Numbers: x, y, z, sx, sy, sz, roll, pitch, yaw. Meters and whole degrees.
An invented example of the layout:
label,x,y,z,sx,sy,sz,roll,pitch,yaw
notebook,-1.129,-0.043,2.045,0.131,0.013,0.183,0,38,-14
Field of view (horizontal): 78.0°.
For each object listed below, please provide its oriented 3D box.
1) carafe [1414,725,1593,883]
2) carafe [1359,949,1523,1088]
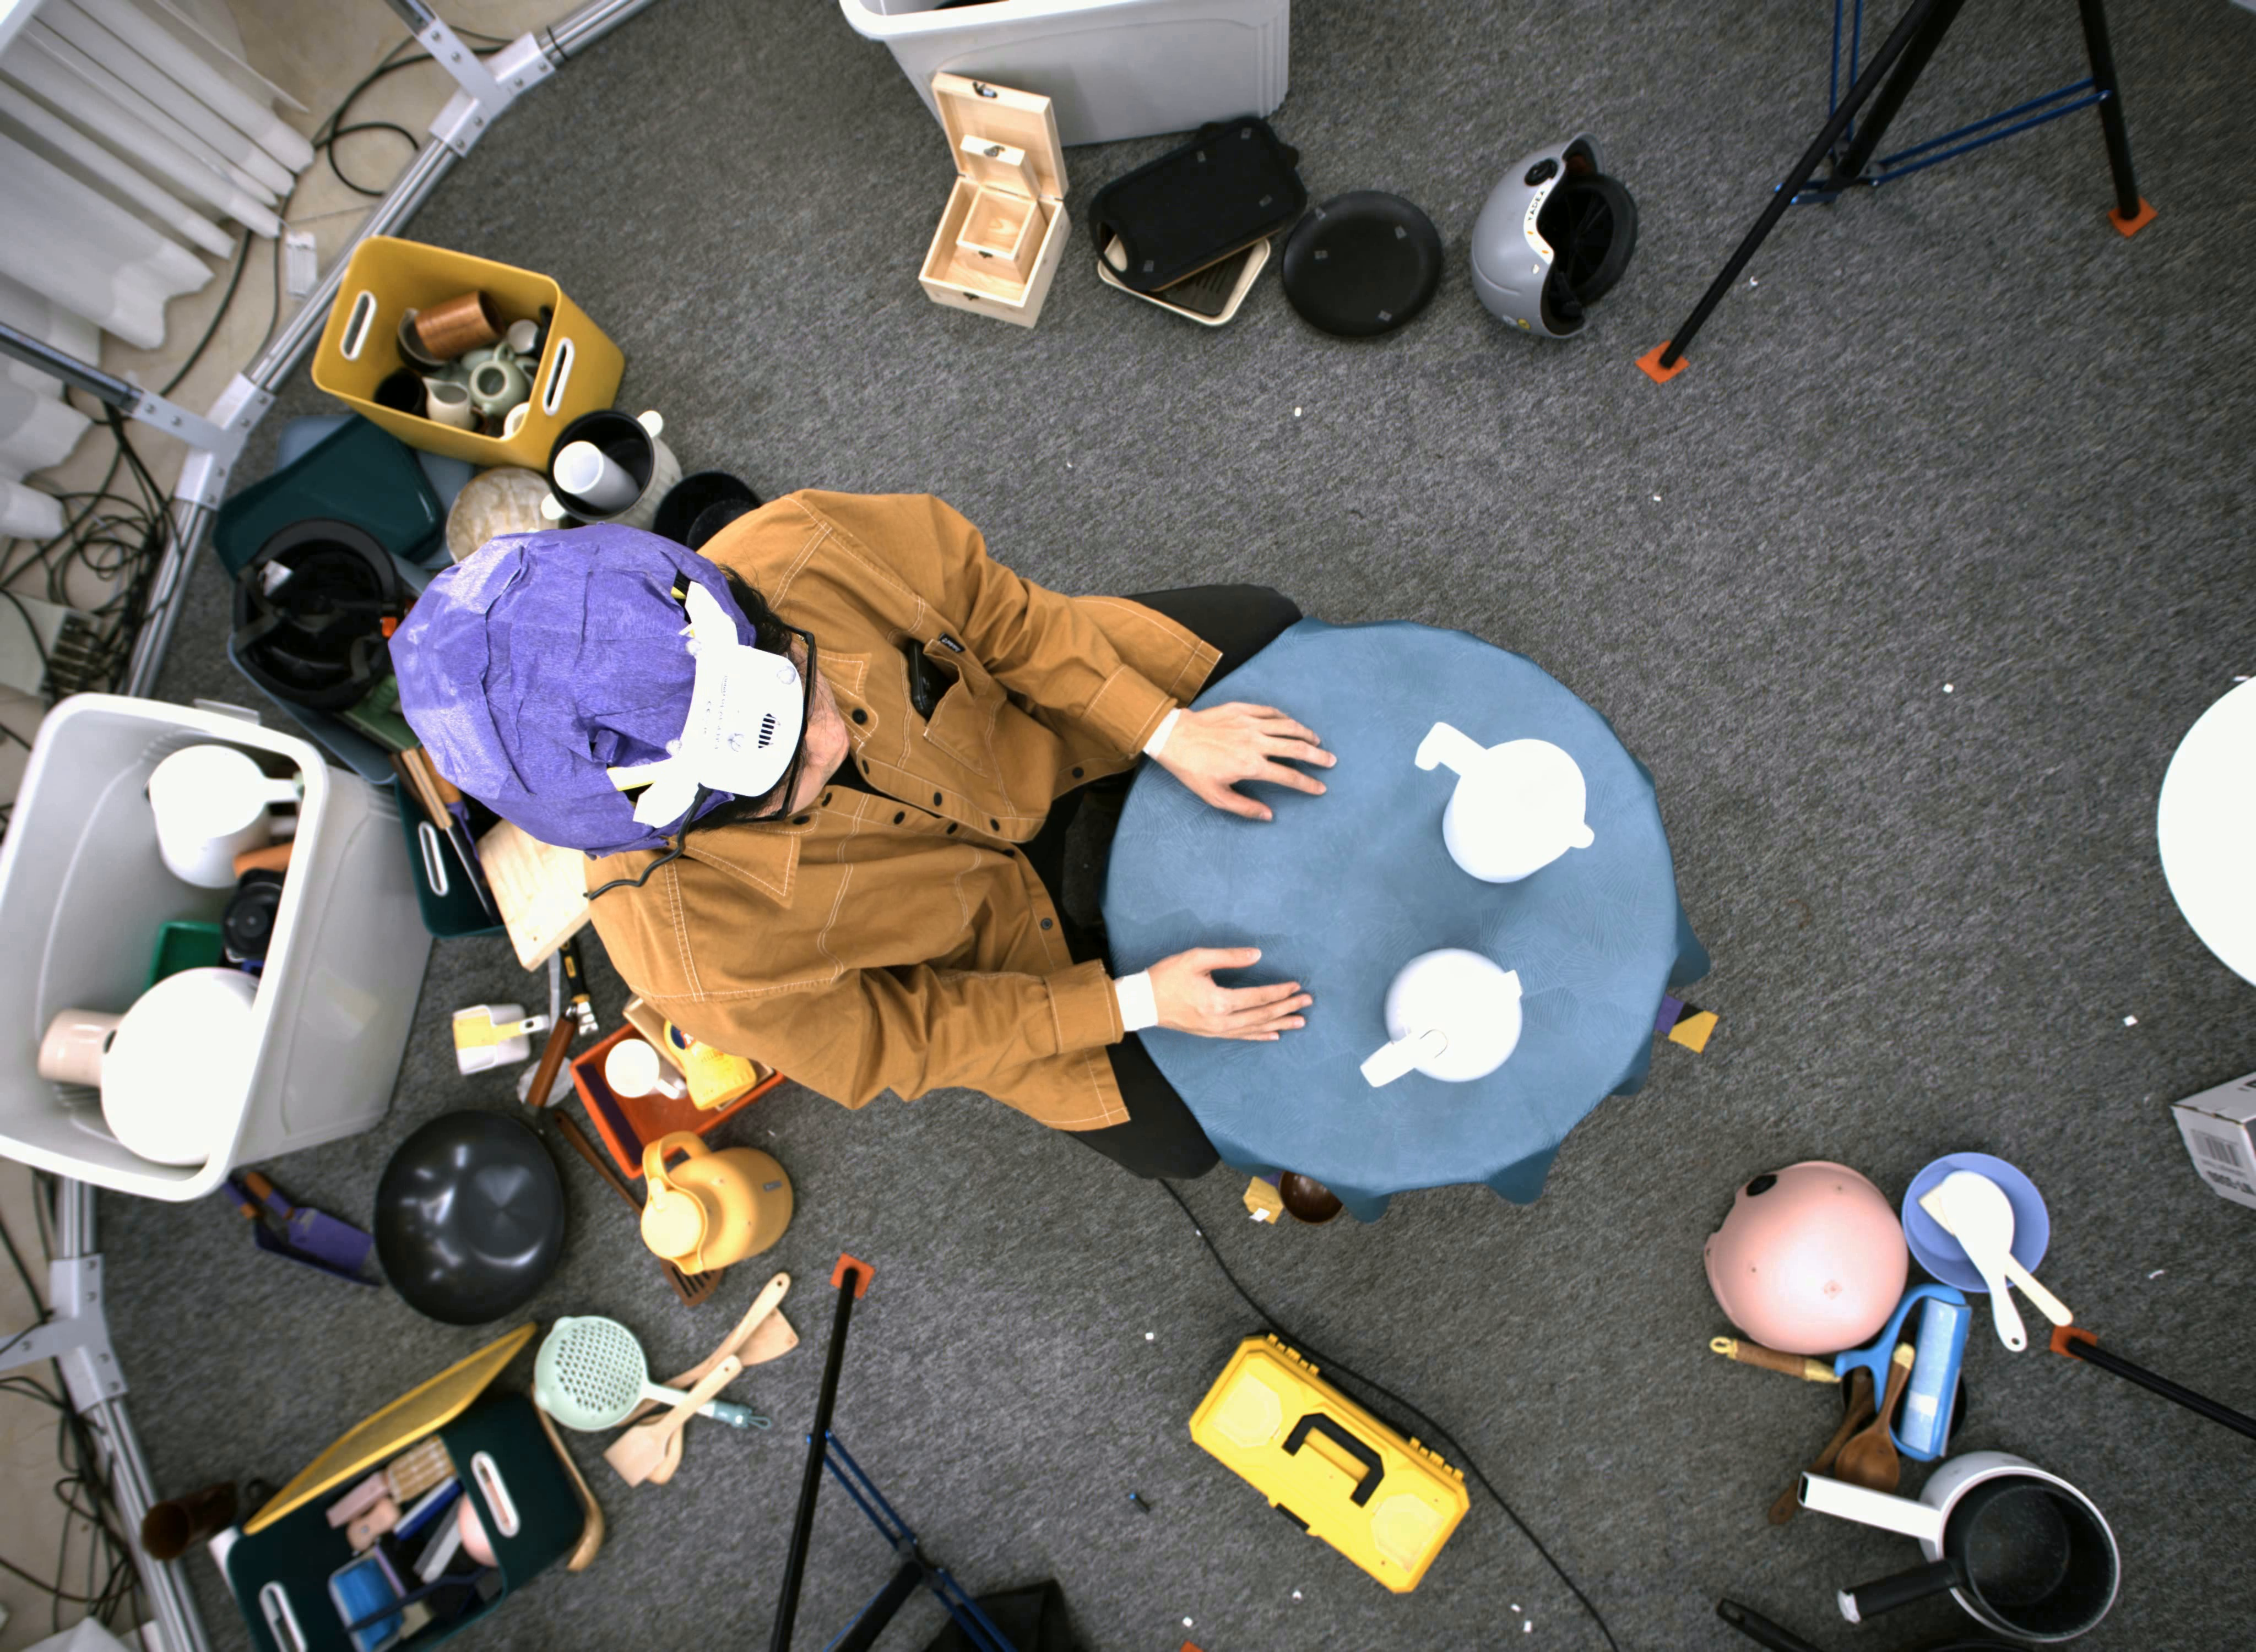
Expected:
label,x,y,z,sx,sy,sz,roll,pitch,yaw
carafe,0.351,-0.022,1.315,0.172,0.268,0.124,36,94,11
carafe,0.298,0.193,1.324,0.168,0.249,0.131,-36,80,6
